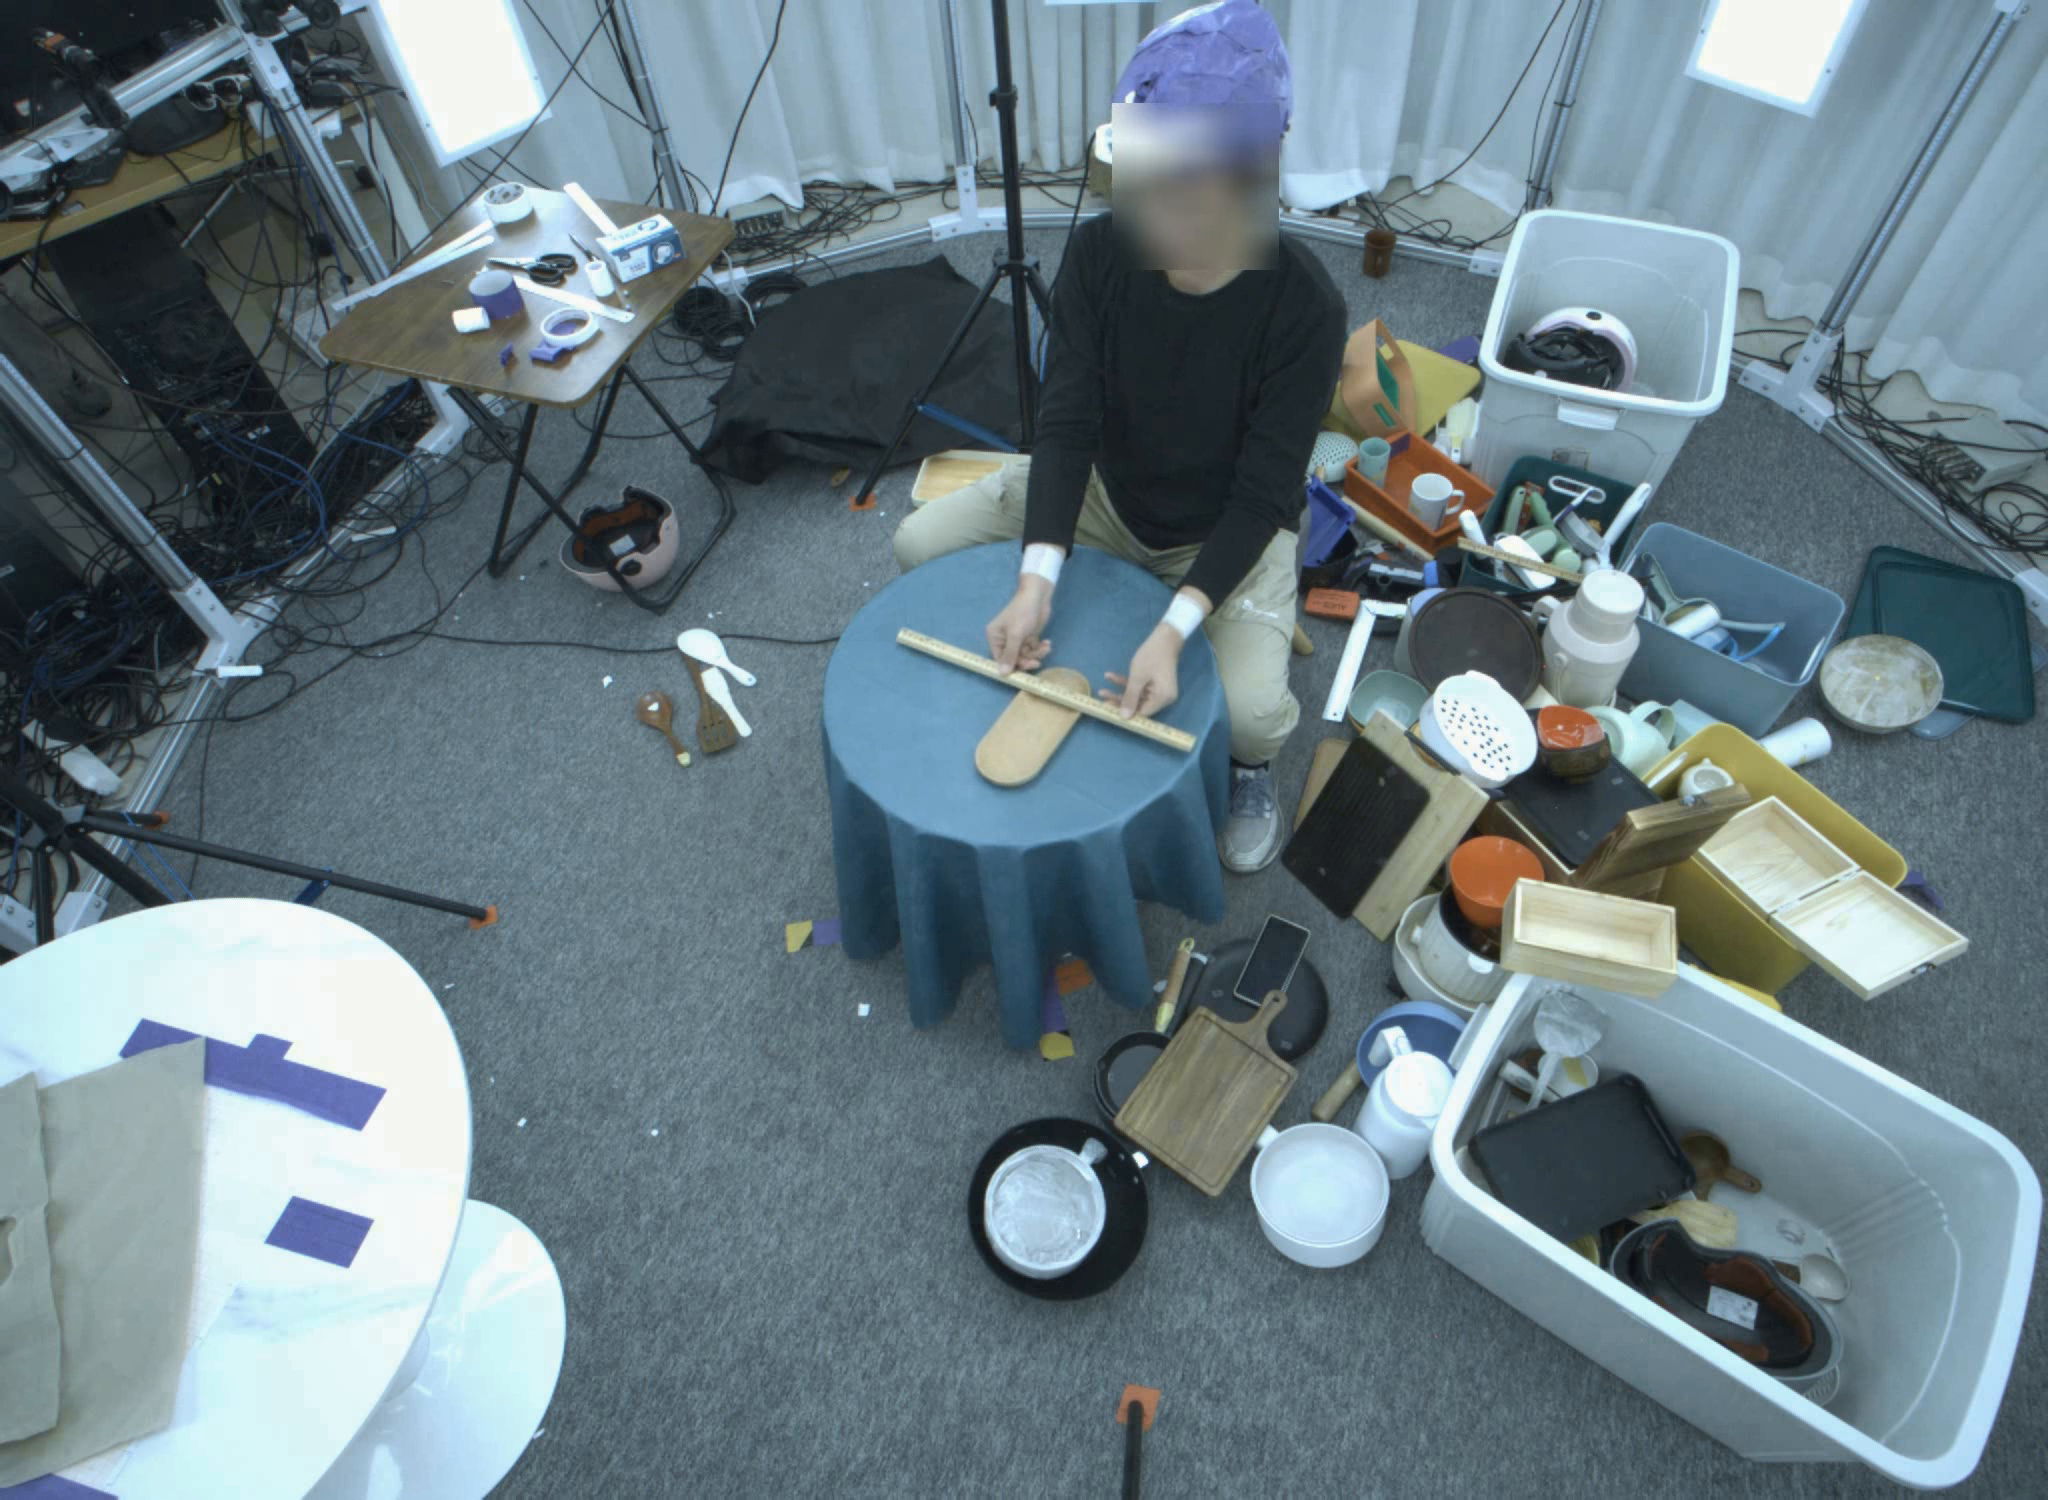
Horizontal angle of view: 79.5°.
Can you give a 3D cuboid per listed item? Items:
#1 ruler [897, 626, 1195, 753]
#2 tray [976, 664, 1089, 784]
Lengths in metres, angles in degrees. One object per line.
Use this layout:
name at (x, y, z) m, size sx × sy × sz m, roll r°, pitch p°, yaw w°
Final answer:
ruler at (0.023, -0.095, 1.829) m, size 0.493 × 0.006 × 0.027 m, roll 22°, pitch 75°, yaw 18°
tray at (0.014, -0.040, 1.805) m, size 0.100 × 0.020 × 0.232 m, roll 24°, pitch 57°, yaw 18°
